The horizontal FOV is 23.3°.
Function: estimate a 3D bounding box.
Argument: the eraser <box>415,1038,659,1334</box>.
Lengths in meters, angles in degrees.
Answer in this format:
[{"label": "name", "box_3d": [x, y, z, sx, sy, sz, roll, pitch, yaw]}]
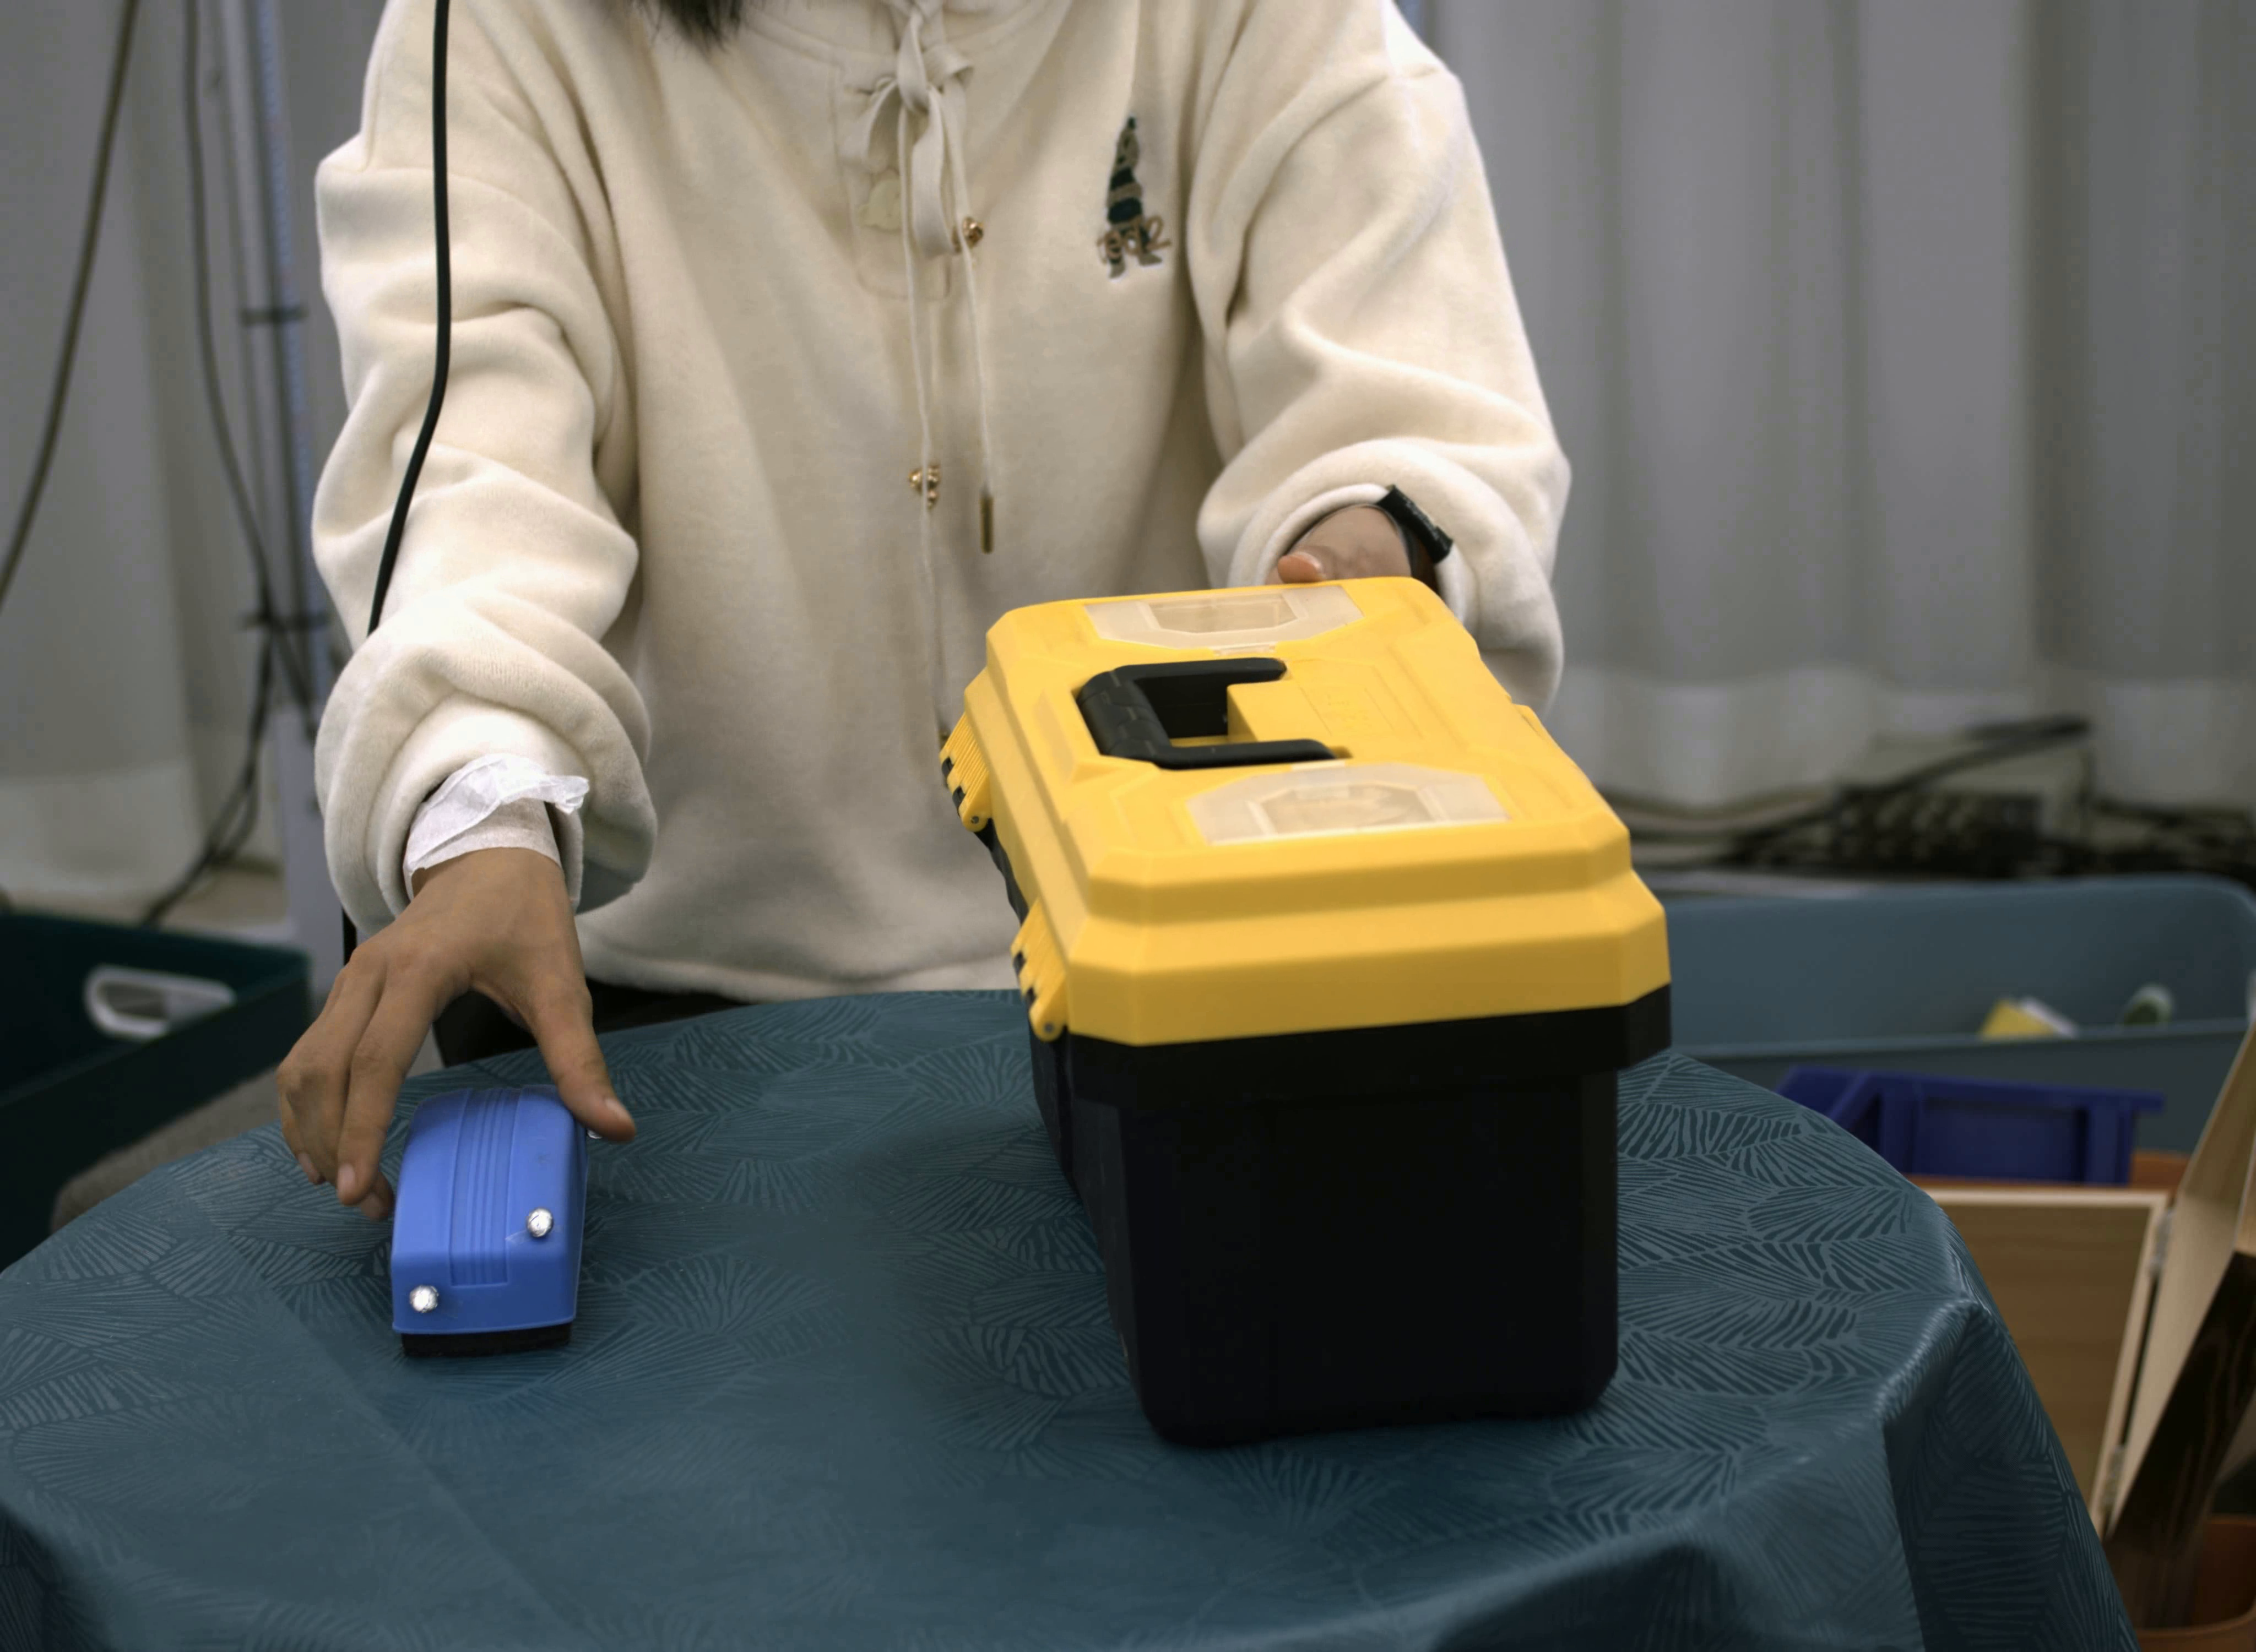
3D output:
[{"label": "eraser", "box_3d": [-0.180, 0.103, 1.674, 0.053, 0.047, 0.163, -10, 17, 5]}]

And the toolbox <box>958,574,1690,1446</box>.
[{"label": "toolbox", "box_3d": [0.050, 0.045, 1.630, 0.180, 0.172, 0.354, -5, 15, -5]}]
